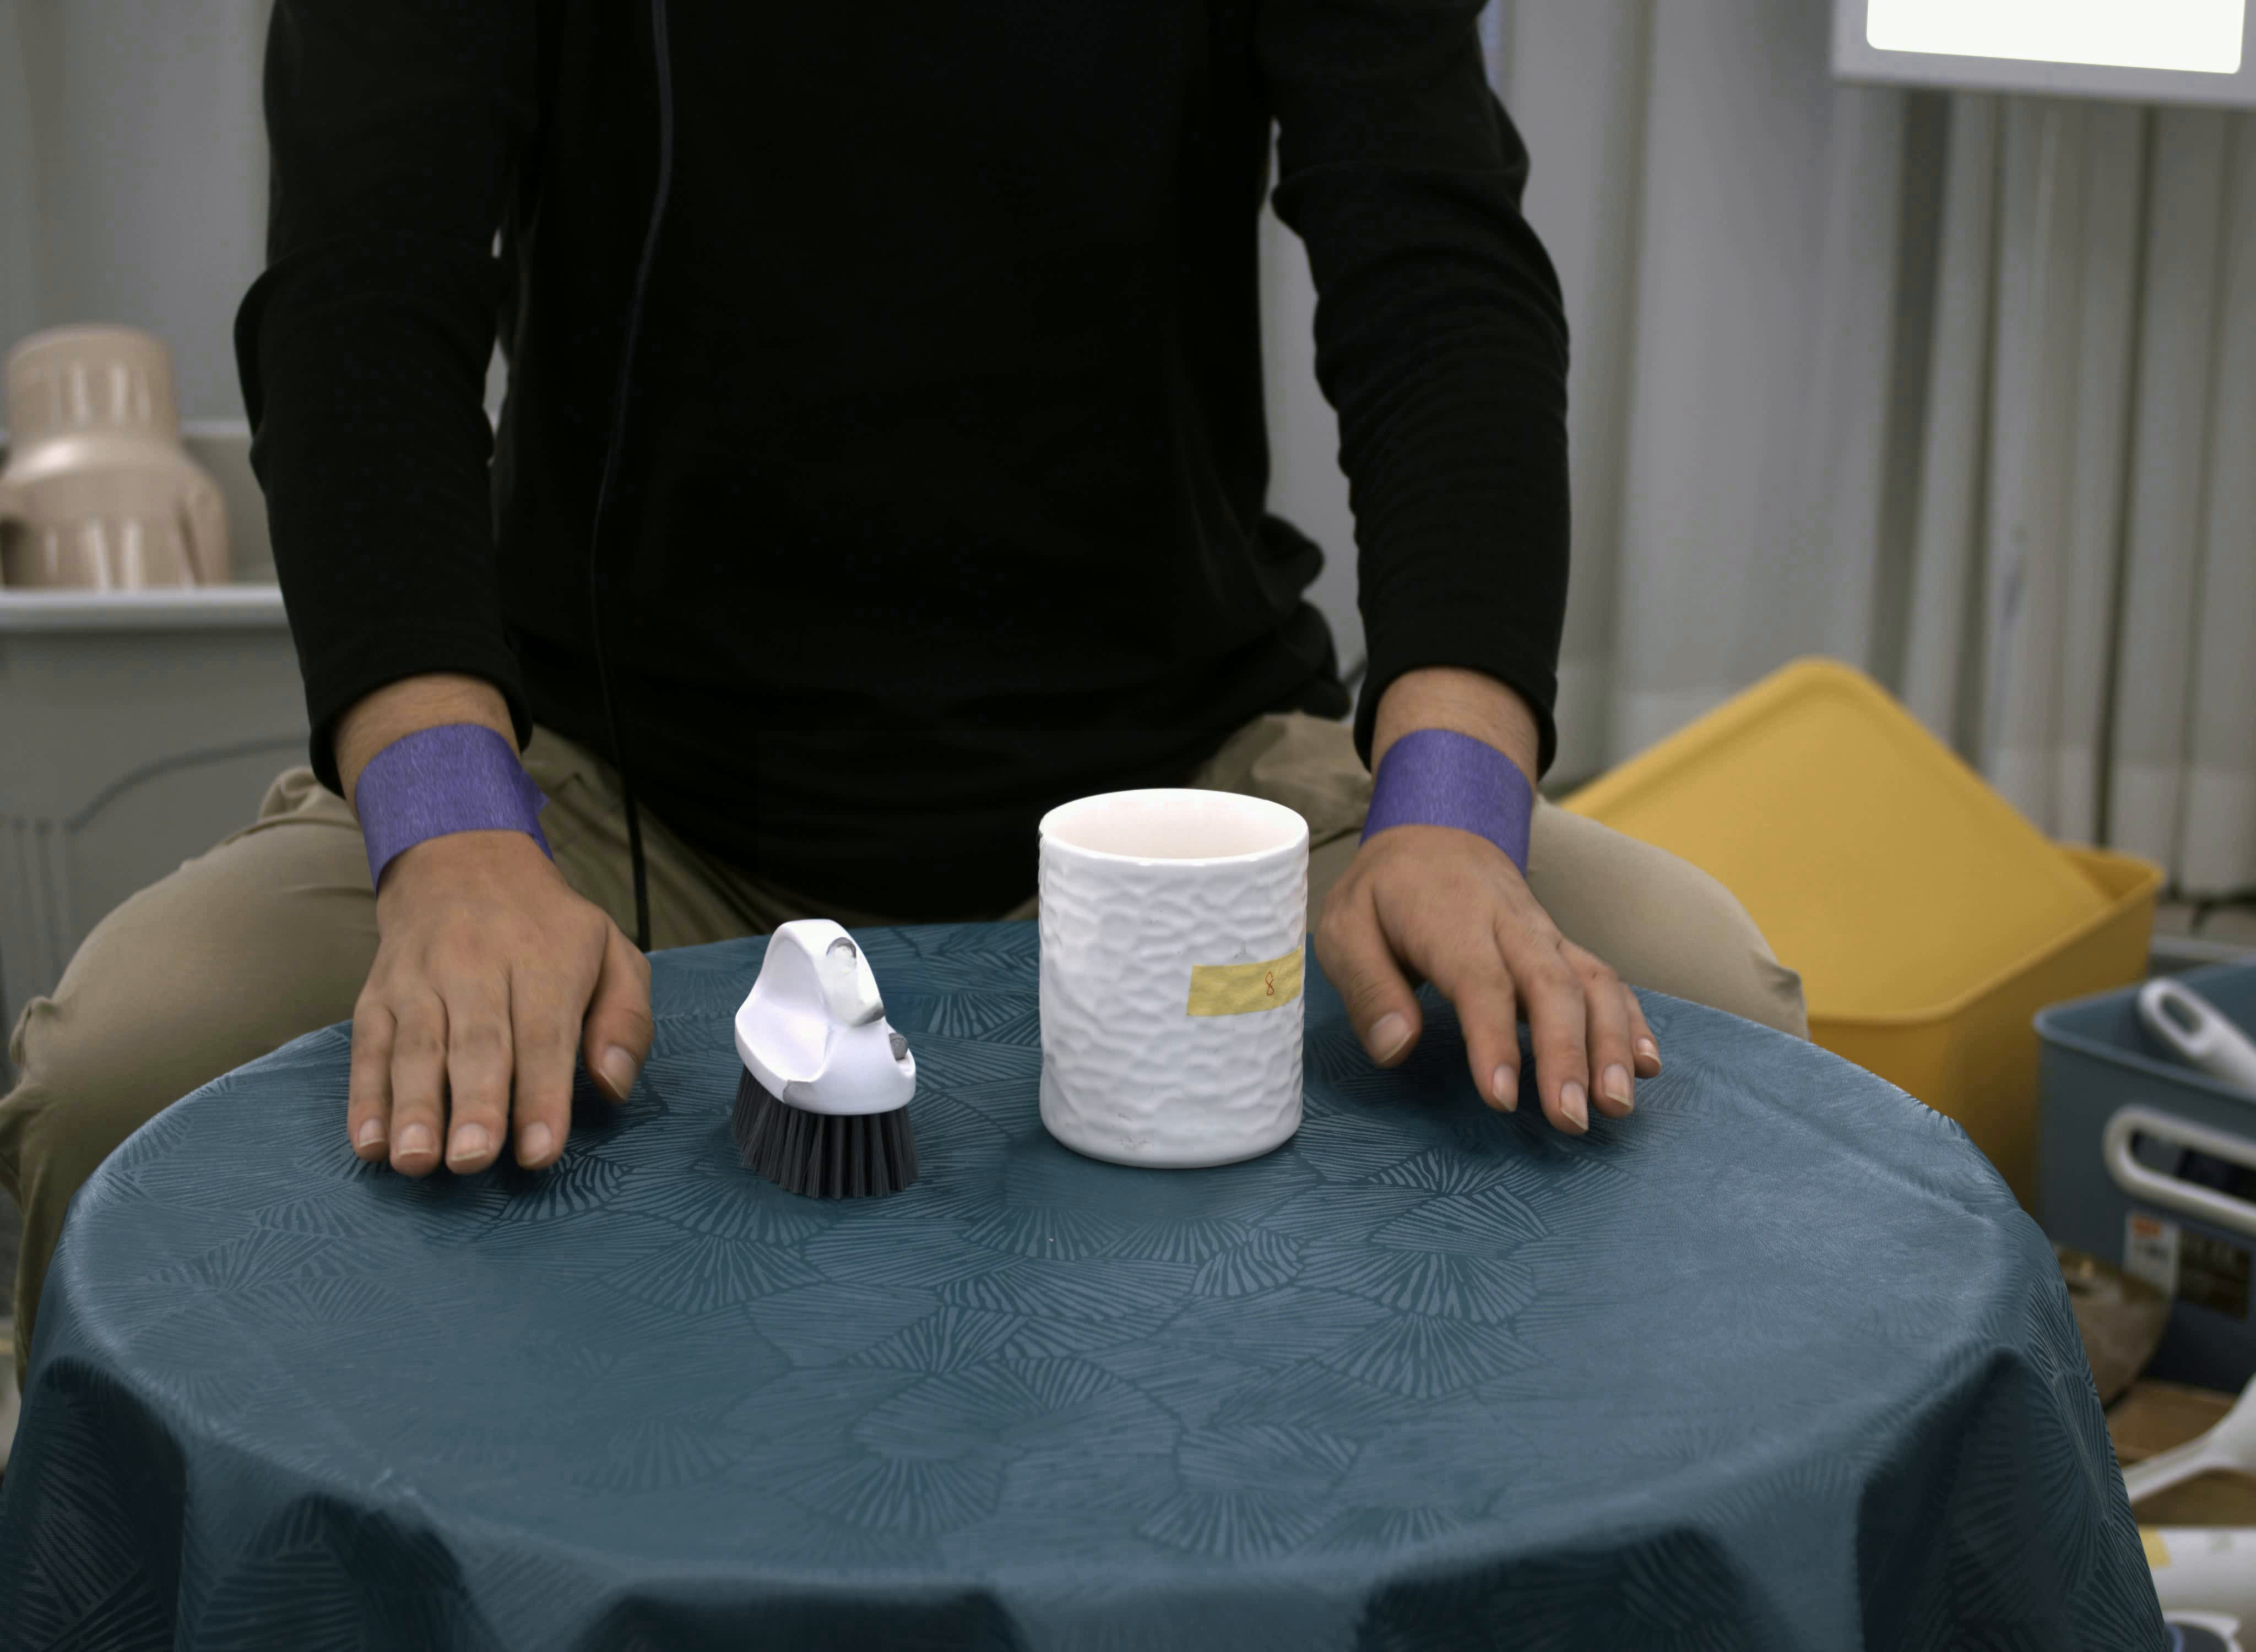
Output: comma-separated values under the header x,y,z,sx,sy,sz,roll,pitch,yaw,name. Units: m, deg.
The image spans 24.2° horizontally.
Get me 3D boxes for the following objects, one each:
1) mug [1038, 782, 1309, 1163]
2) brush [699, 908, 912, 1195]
x,y,z,sx,sy,sz,roll,pitch,yaw,name
0.009,0.042,1.678,0.085,0.103,0.117,-5,17,-18,mug
-0.100,0.065,1.646,0.050,0.073,0.098,-2,21,-26,brush
